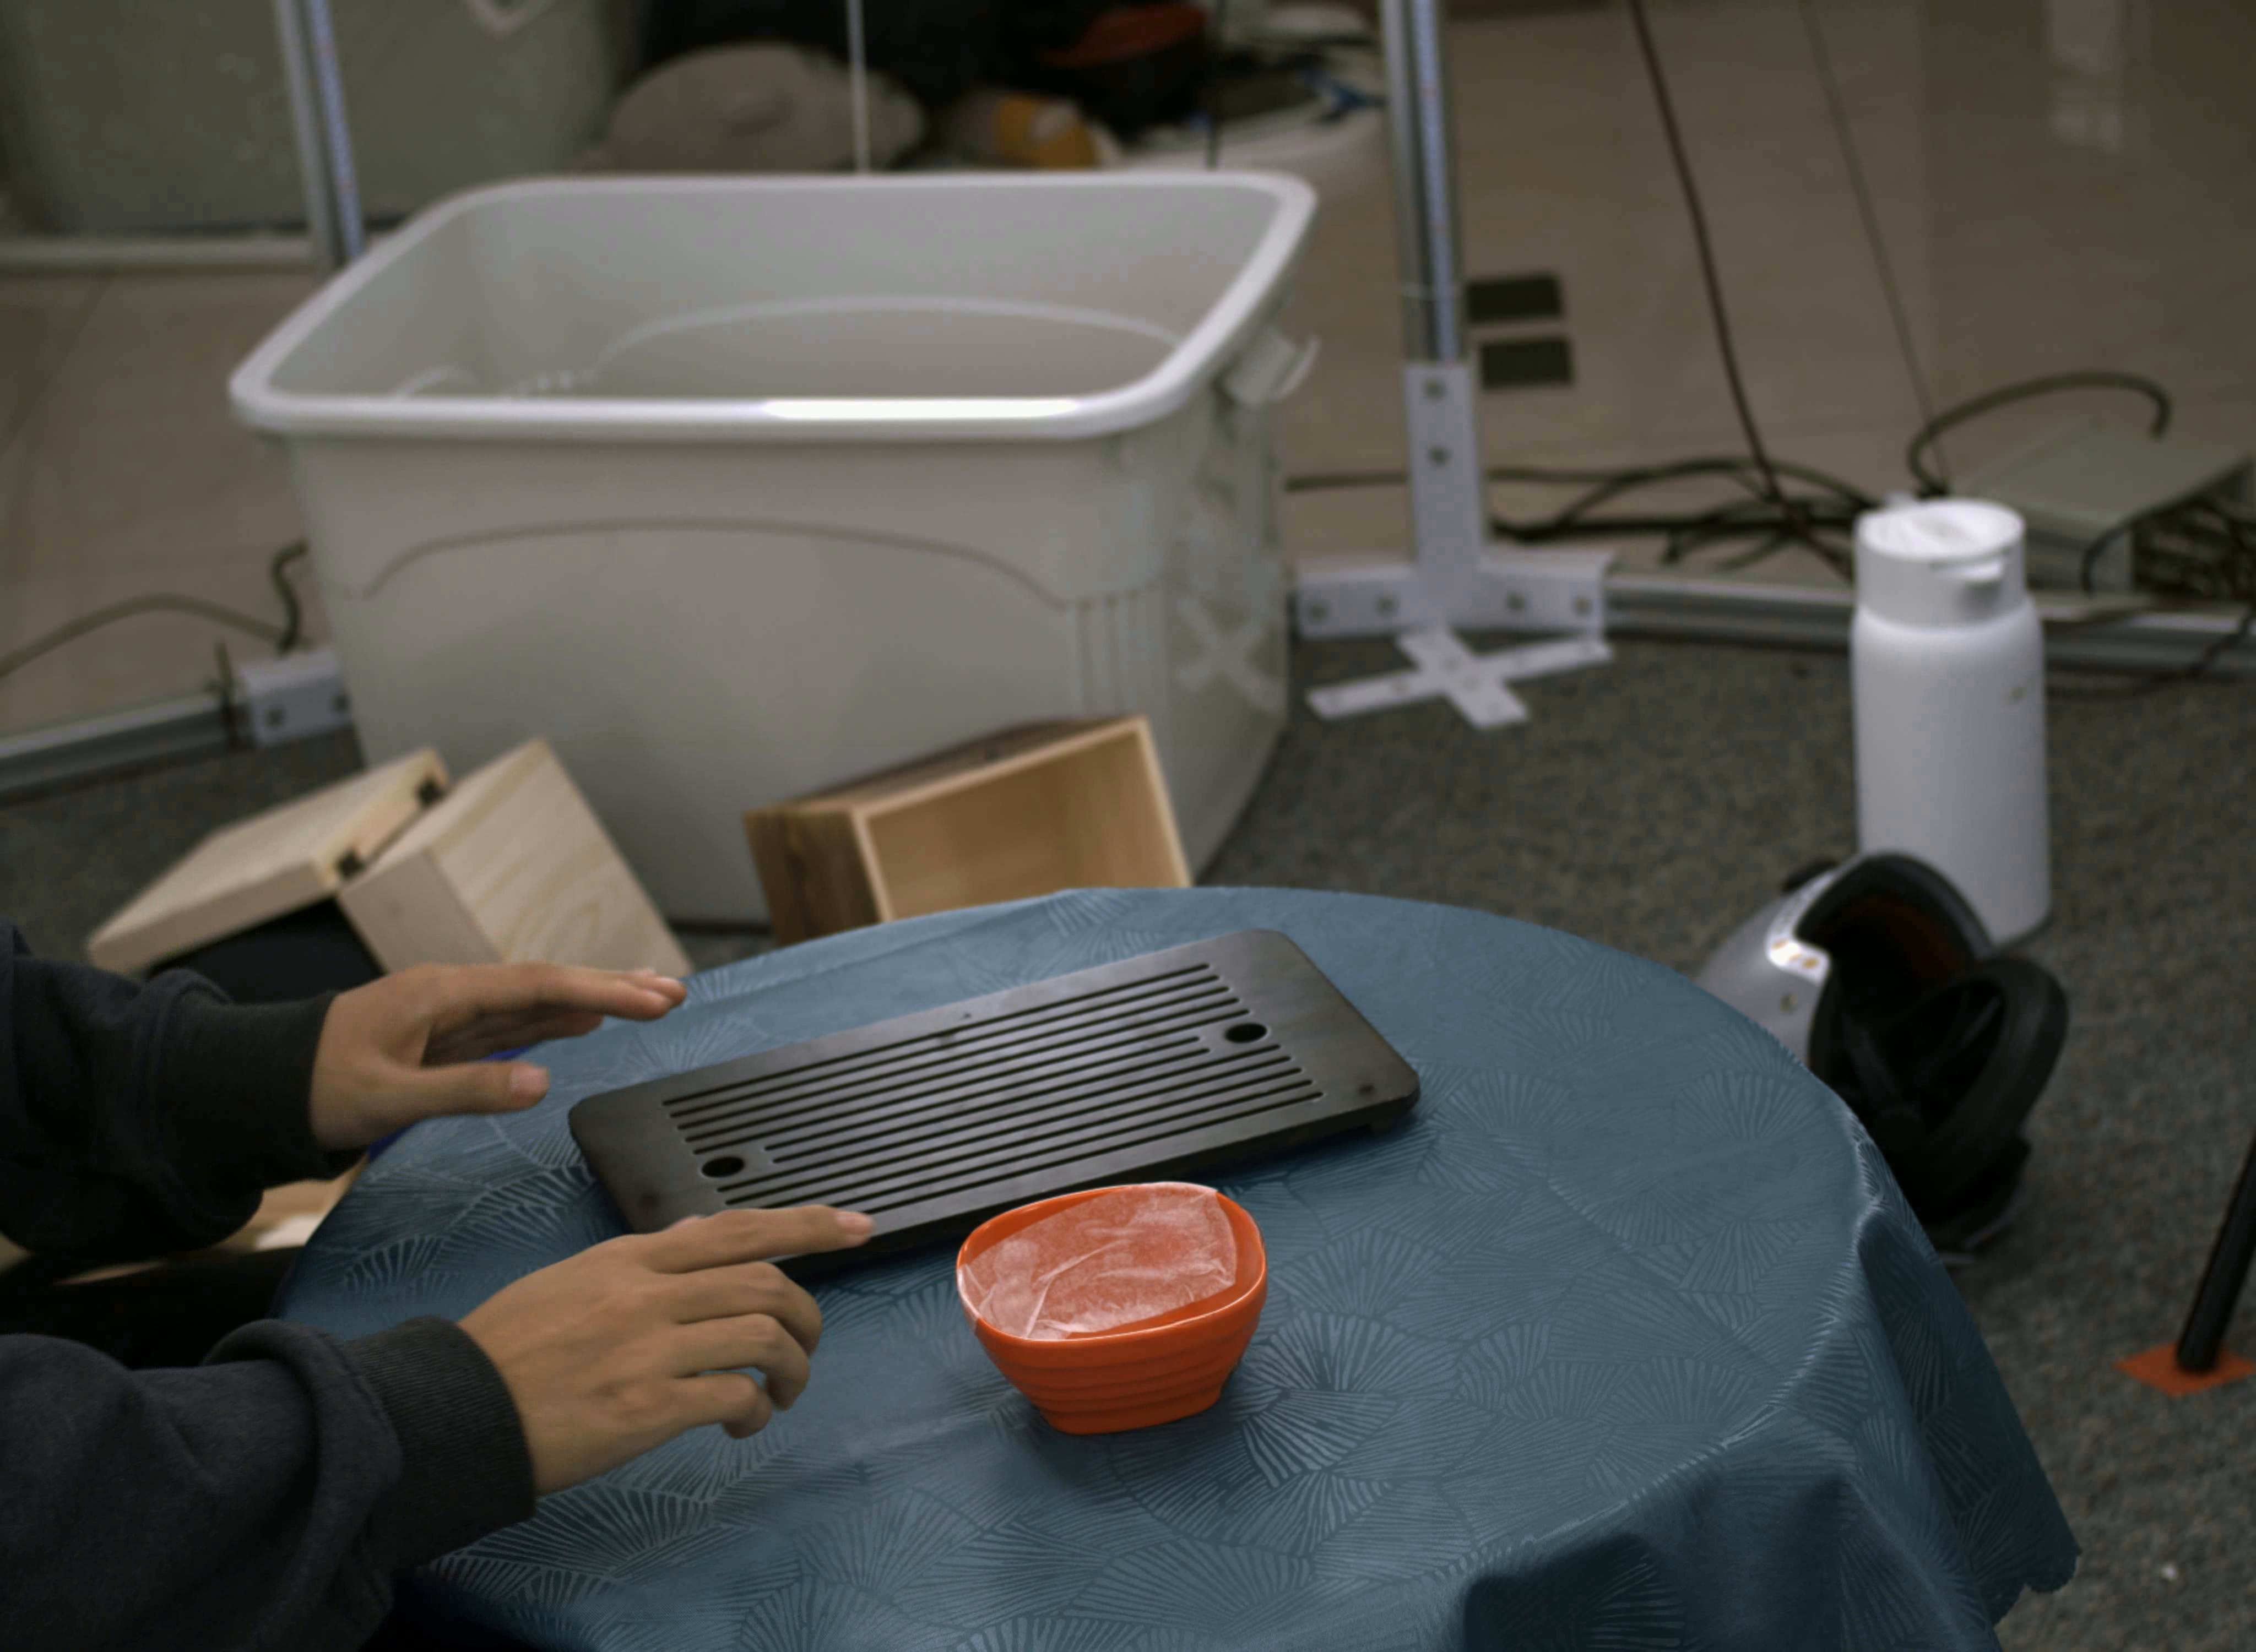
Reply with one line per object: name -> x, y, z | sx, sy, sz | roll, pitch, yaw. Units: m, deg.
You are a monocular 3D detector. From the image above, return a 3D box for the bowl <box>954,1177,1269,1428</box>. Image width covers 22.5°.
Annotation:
bowl -> -0.004, 0.173, 2.008 | 0.119, 0.052, 0.117 | -4, 26, 2

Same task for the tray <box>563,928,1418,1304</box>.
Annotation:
tray -> -0.055, 0.111, 2.199 | 0.305, 0.019, 0.168 | -14, 26, -15
